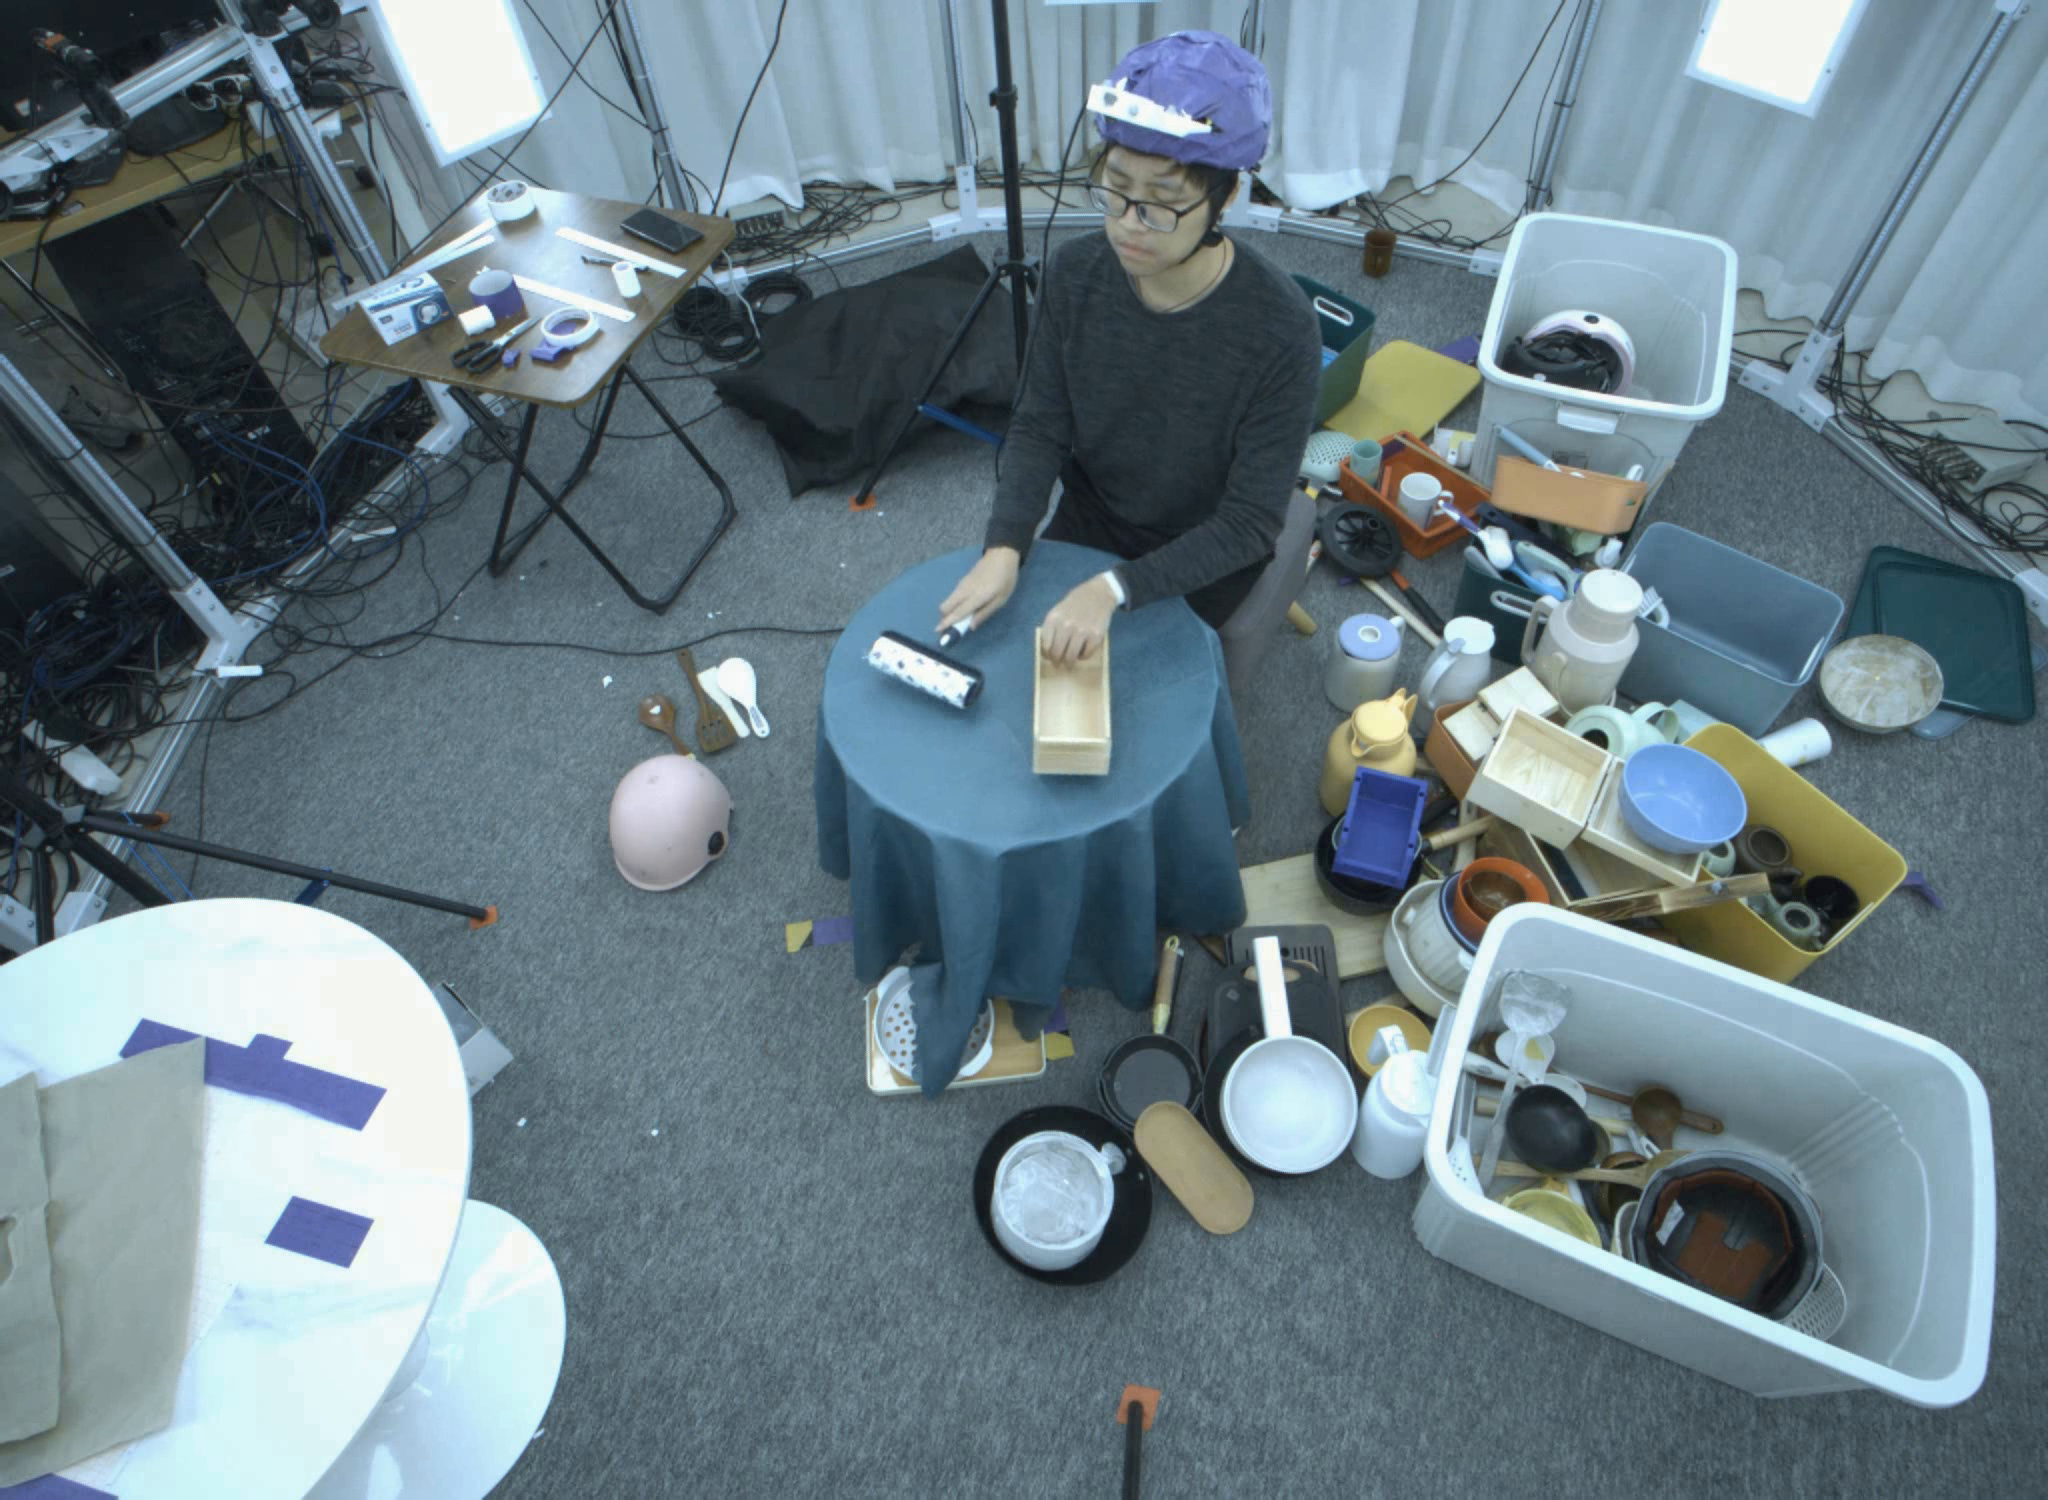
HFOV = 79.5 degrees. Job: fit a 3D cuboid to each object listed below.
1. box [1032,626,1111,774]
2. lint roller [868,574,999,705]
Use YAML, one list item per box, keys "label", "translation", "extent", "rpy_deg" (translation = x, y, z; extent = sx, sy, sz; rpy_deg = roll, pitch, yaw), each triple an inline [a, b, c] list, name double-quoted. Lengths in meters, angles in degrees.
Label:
- label: "box"
  translation: [0.067, -0.074, 1.753]
  extent: [0.108, 0.081, 0.209]
  rpy_deg: [2, 51, -1]
- label: "lint roller"
  translation: [-0.104, -0.190, 1.868]
  extent: [0.175, 0.051, 0.247]
  rpy_deg: [24, 58, 10]
